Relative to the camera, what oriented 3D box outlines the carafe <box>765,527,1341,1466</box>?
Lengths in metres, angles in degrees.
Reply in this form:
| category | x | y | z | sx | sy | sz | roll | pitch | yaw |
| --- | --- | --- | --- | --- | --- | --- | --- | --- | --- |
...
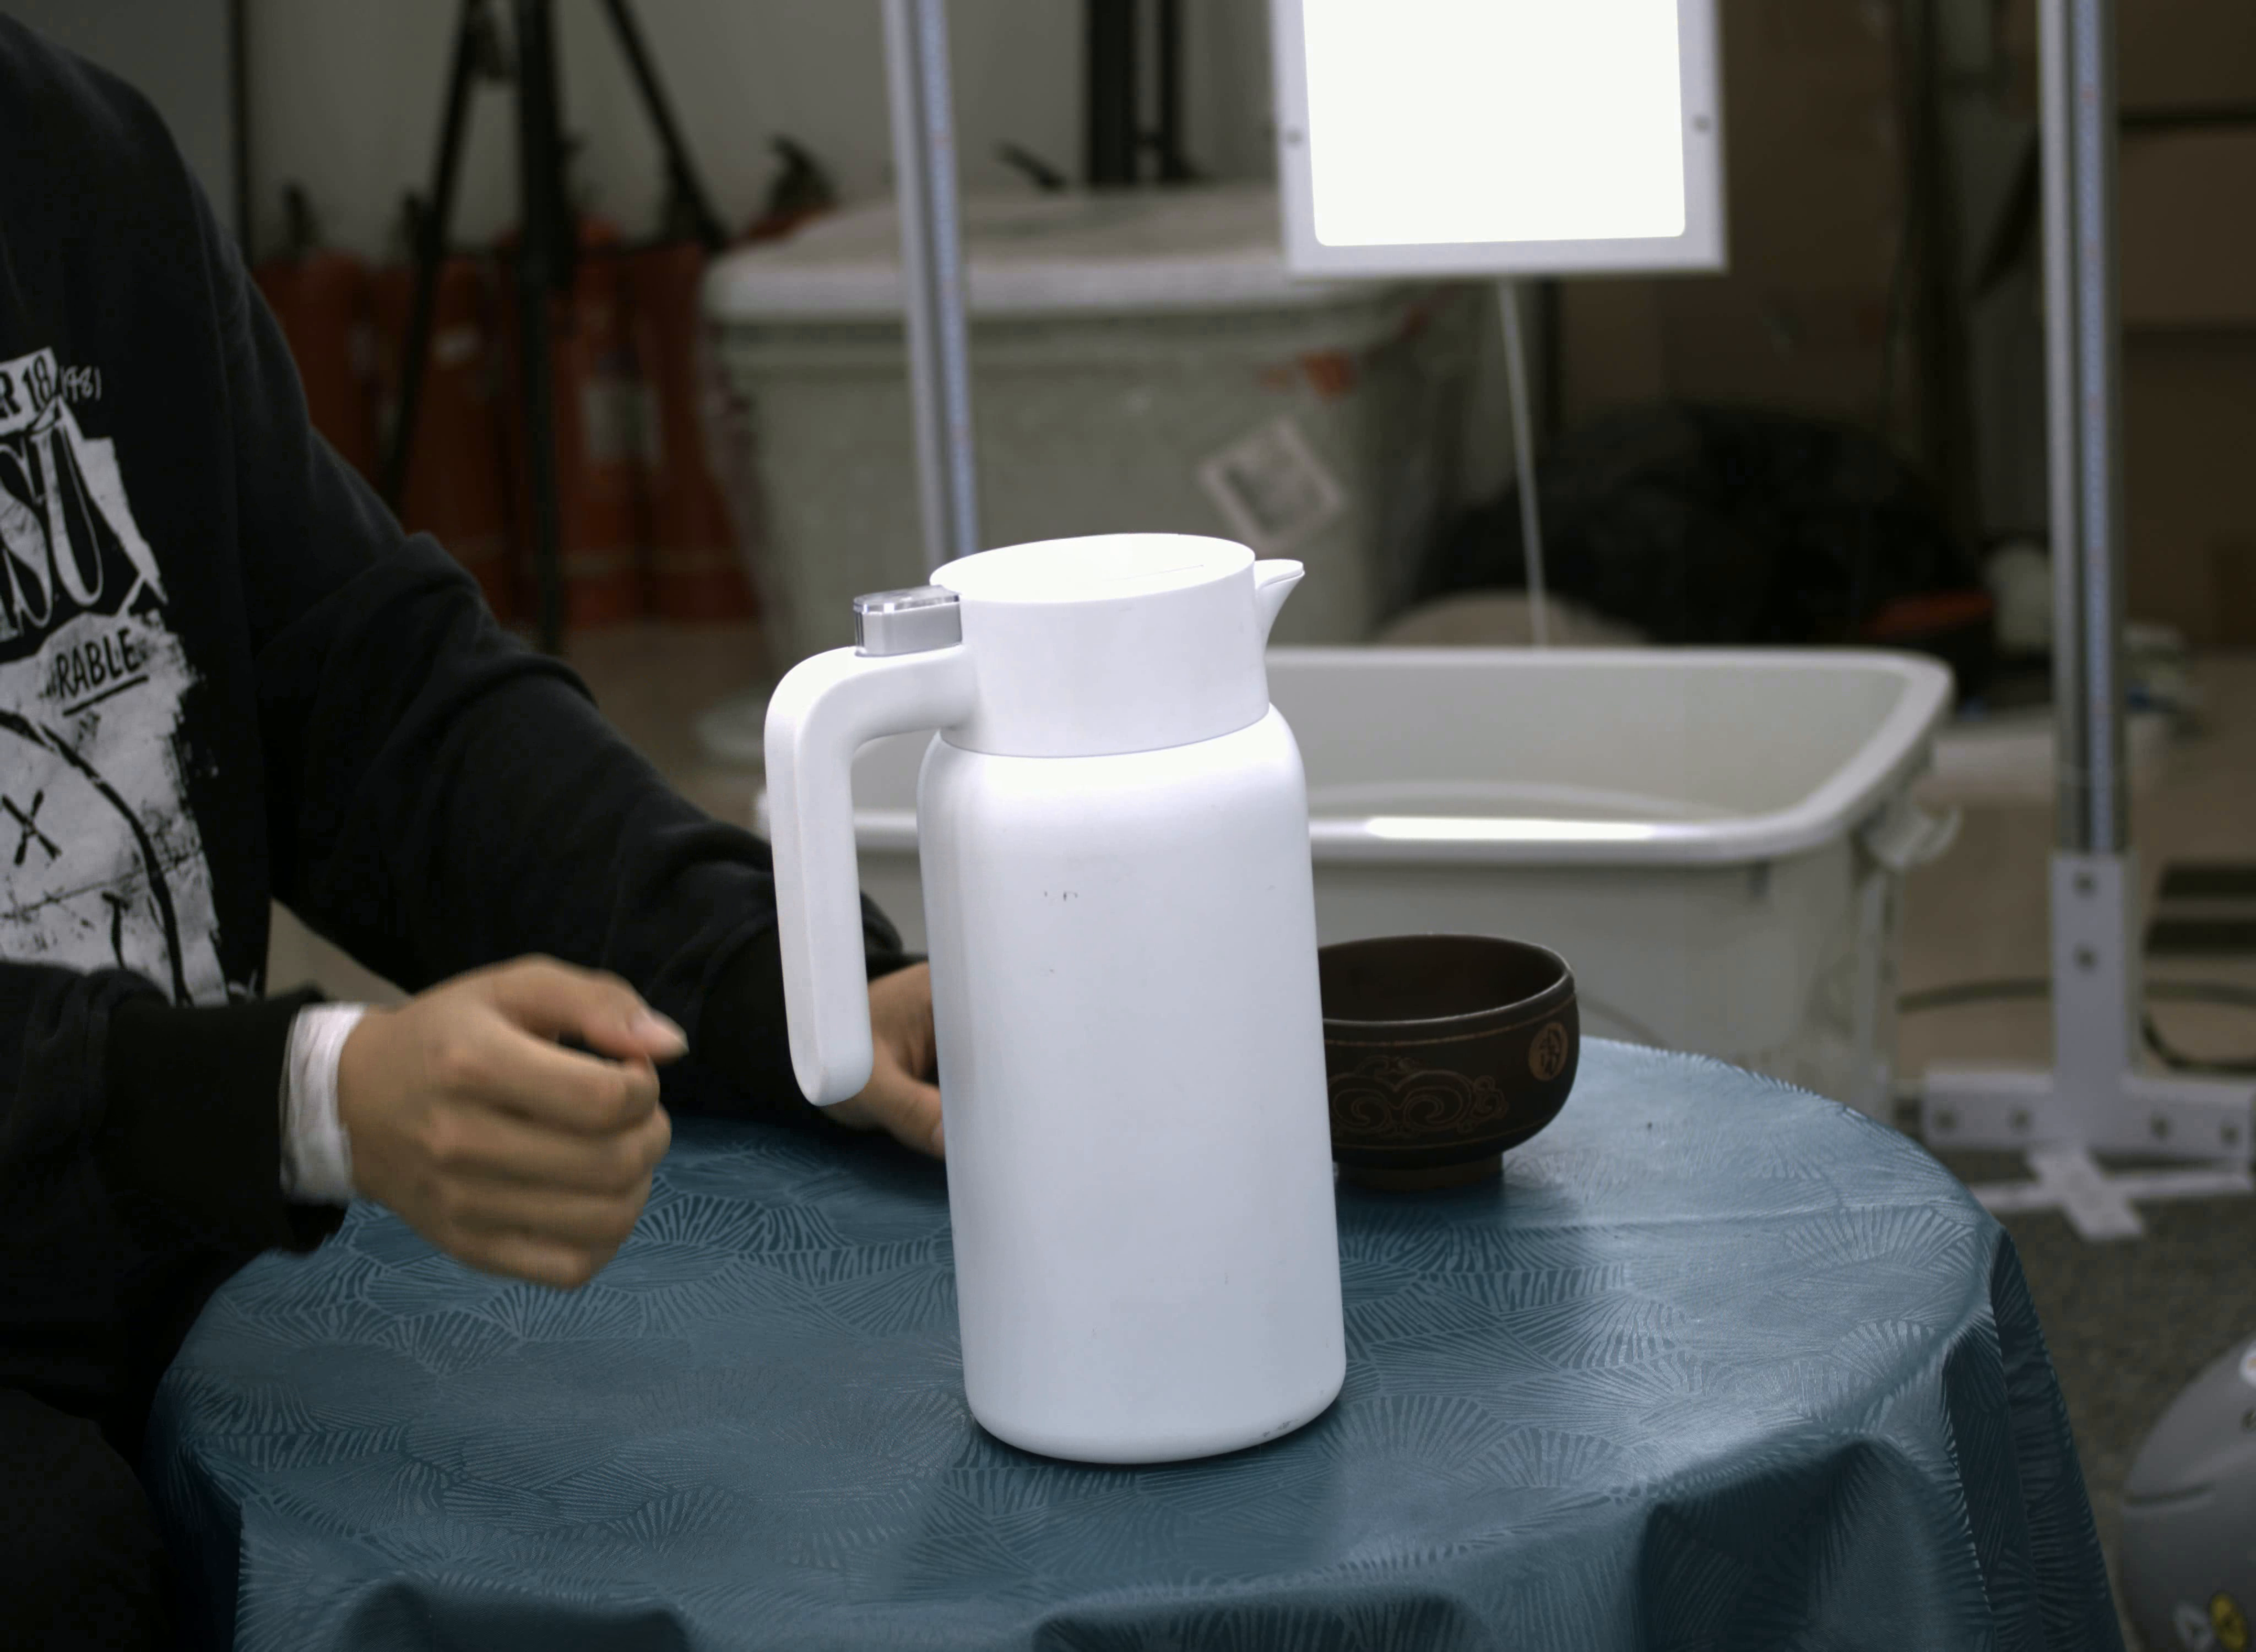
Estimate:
| category | x | y | z | sx | sy | sz | roll | pitch | yaw |
| --- | --- | --- | --- | --- | --- | --- | --- | --- | --- |
| carafe | -0.017 | 0.053 | 1.645 | 0.169 | 0.270 | 0.125 | -10 | 17 | -22 |

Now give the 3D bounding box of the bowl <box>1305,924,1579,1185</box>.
| category | x | y | z | sx | sy | sz | roll | pitch | yaw |
| --- | --- | --- | --- | --- | --- | --- | --- | --- | --- |
| bowl | 0.098 | 0.082 | 1.888 | 0.118 | 0.070 | 0.118 | -6 | 14 | 0 |
